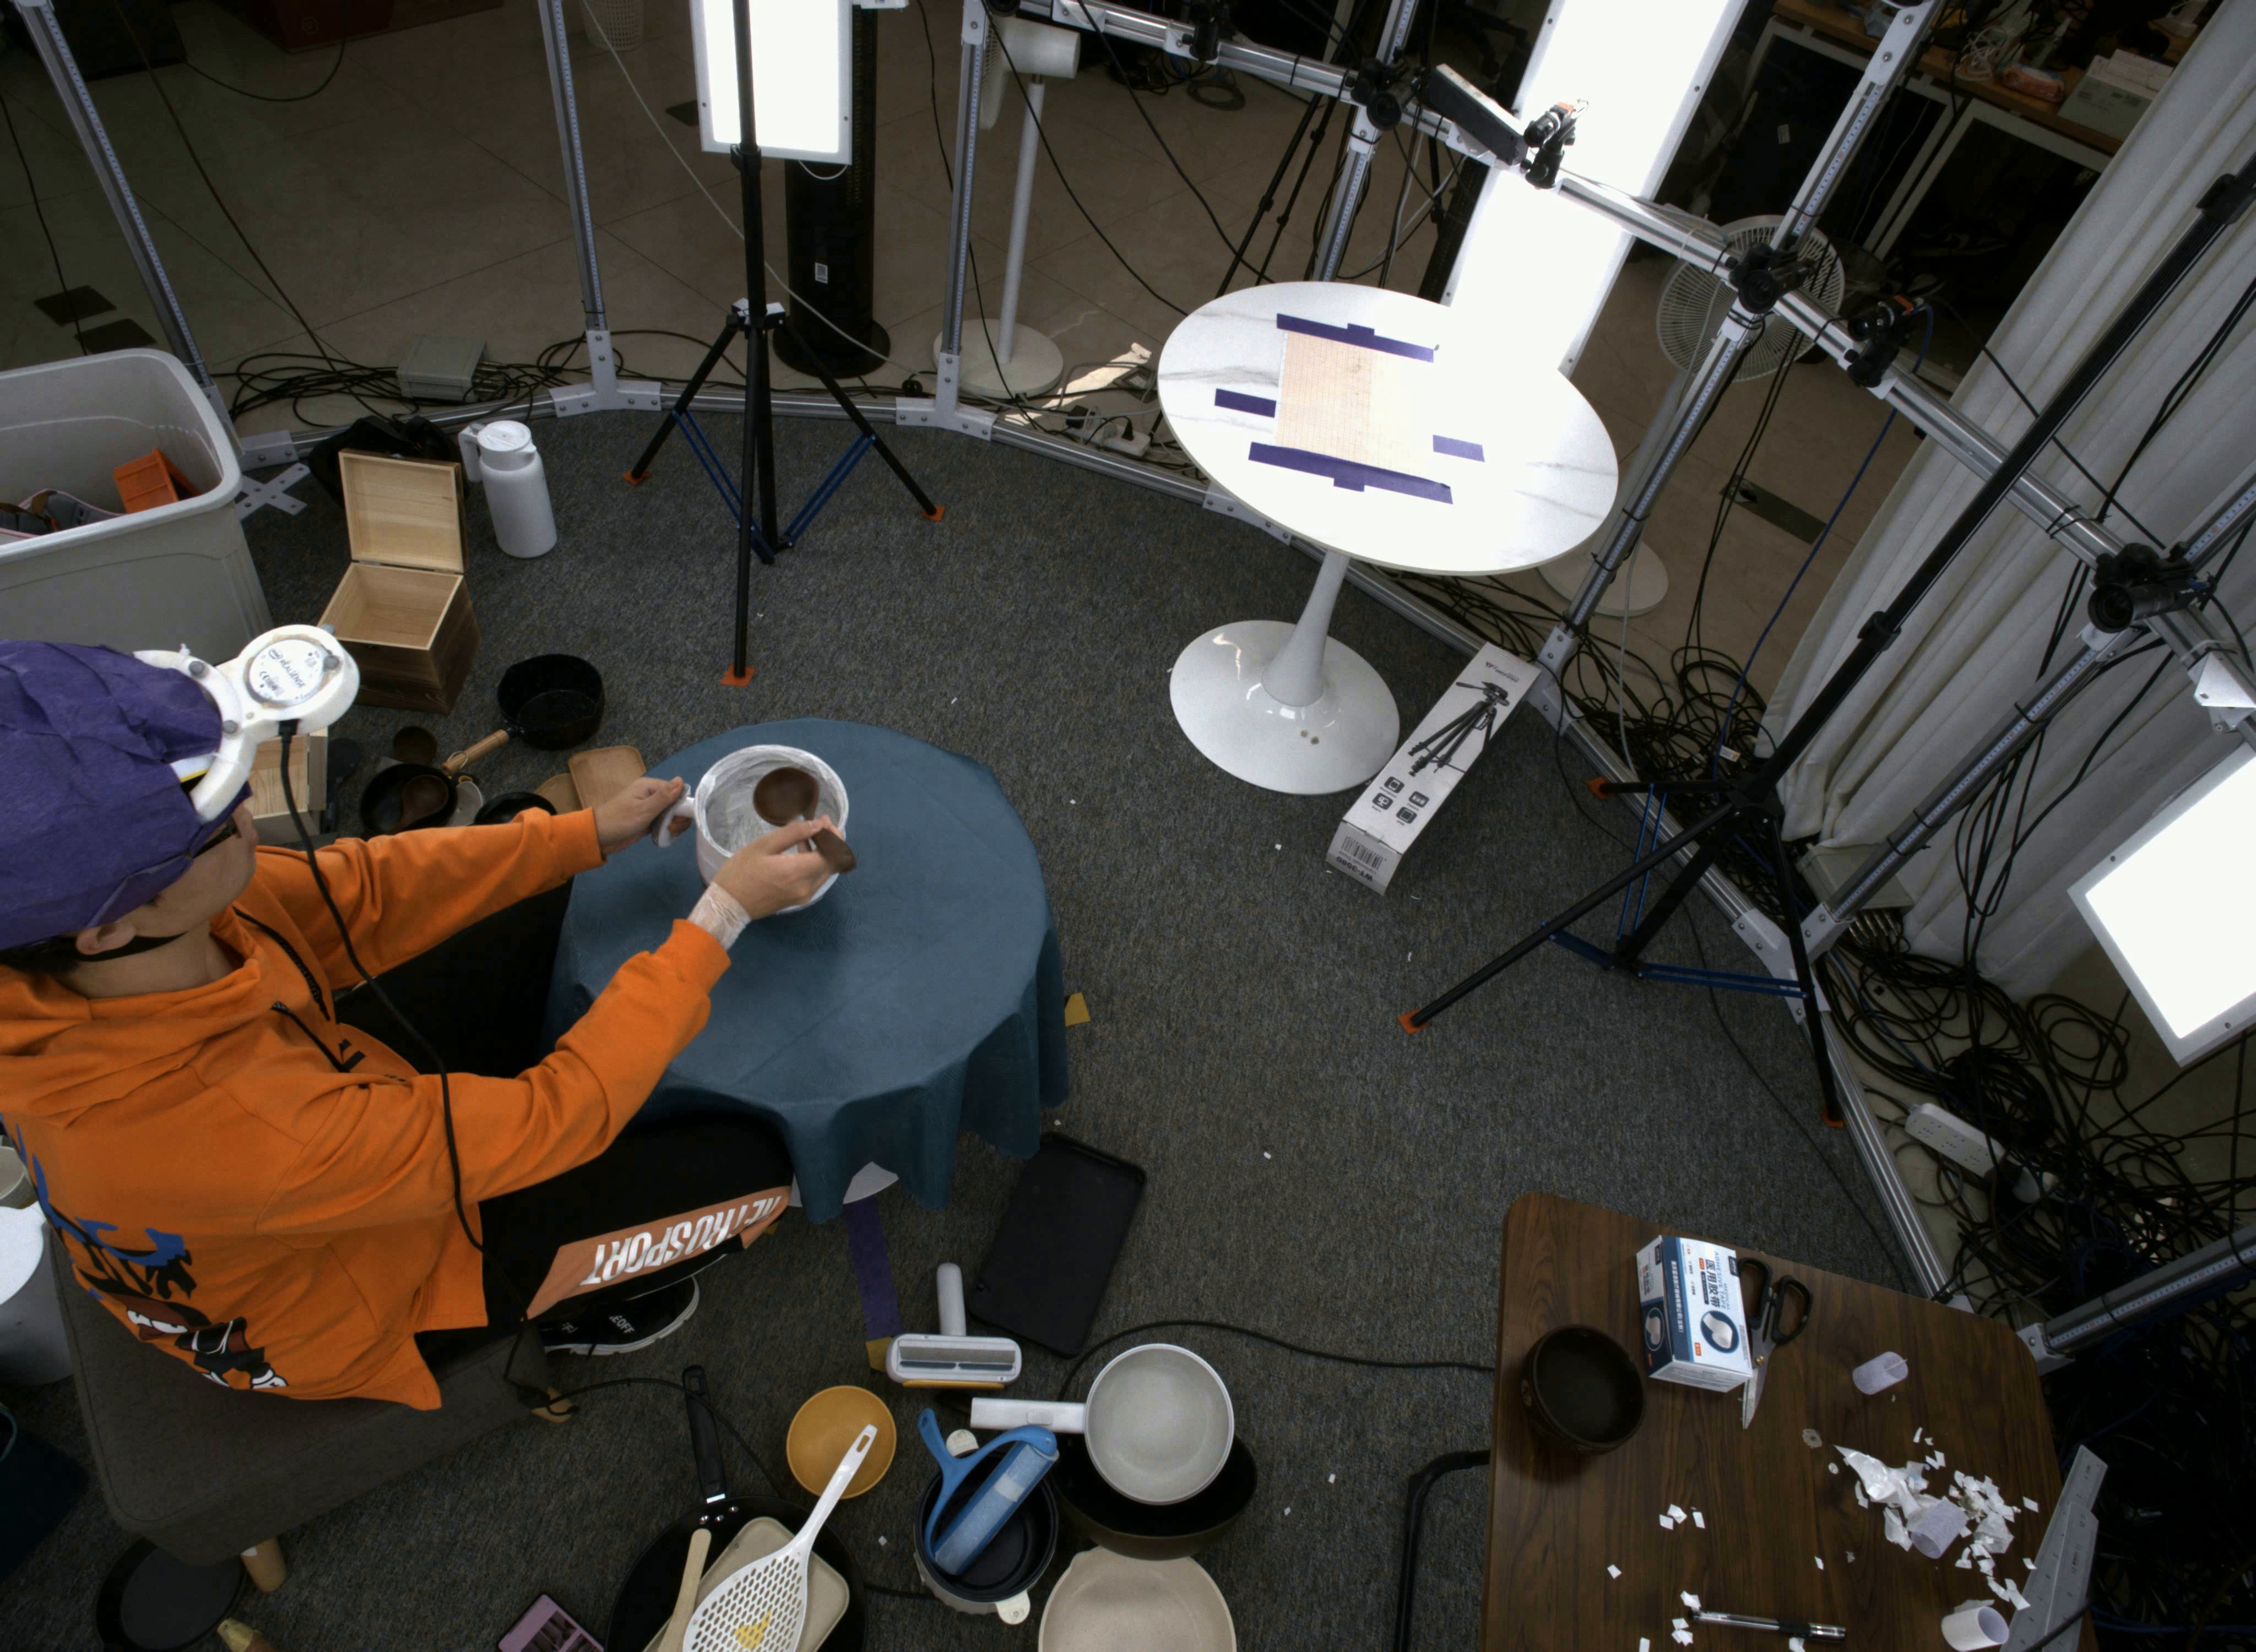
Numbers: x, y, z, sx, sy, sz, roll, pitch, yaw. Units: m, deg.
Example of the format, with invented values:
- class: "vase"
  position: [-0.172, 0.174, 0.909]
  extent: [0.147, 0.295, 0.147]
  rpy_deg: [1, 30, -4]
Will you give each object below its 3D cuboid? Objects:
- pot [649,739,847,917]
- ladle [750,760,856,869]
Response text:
- class: "pot"
  position: [-0.456, 0.002, 1.542]
  extent: [0.234, 0.139, 0.175]
  rpy_deg: [9, 54, -12]
- class: "ladle"
  position: [-0.343, -0.015, 1.371]
  extent: [0.076, 0.067, 0.251]
  rpy_deg: [-36, 27, -14]
